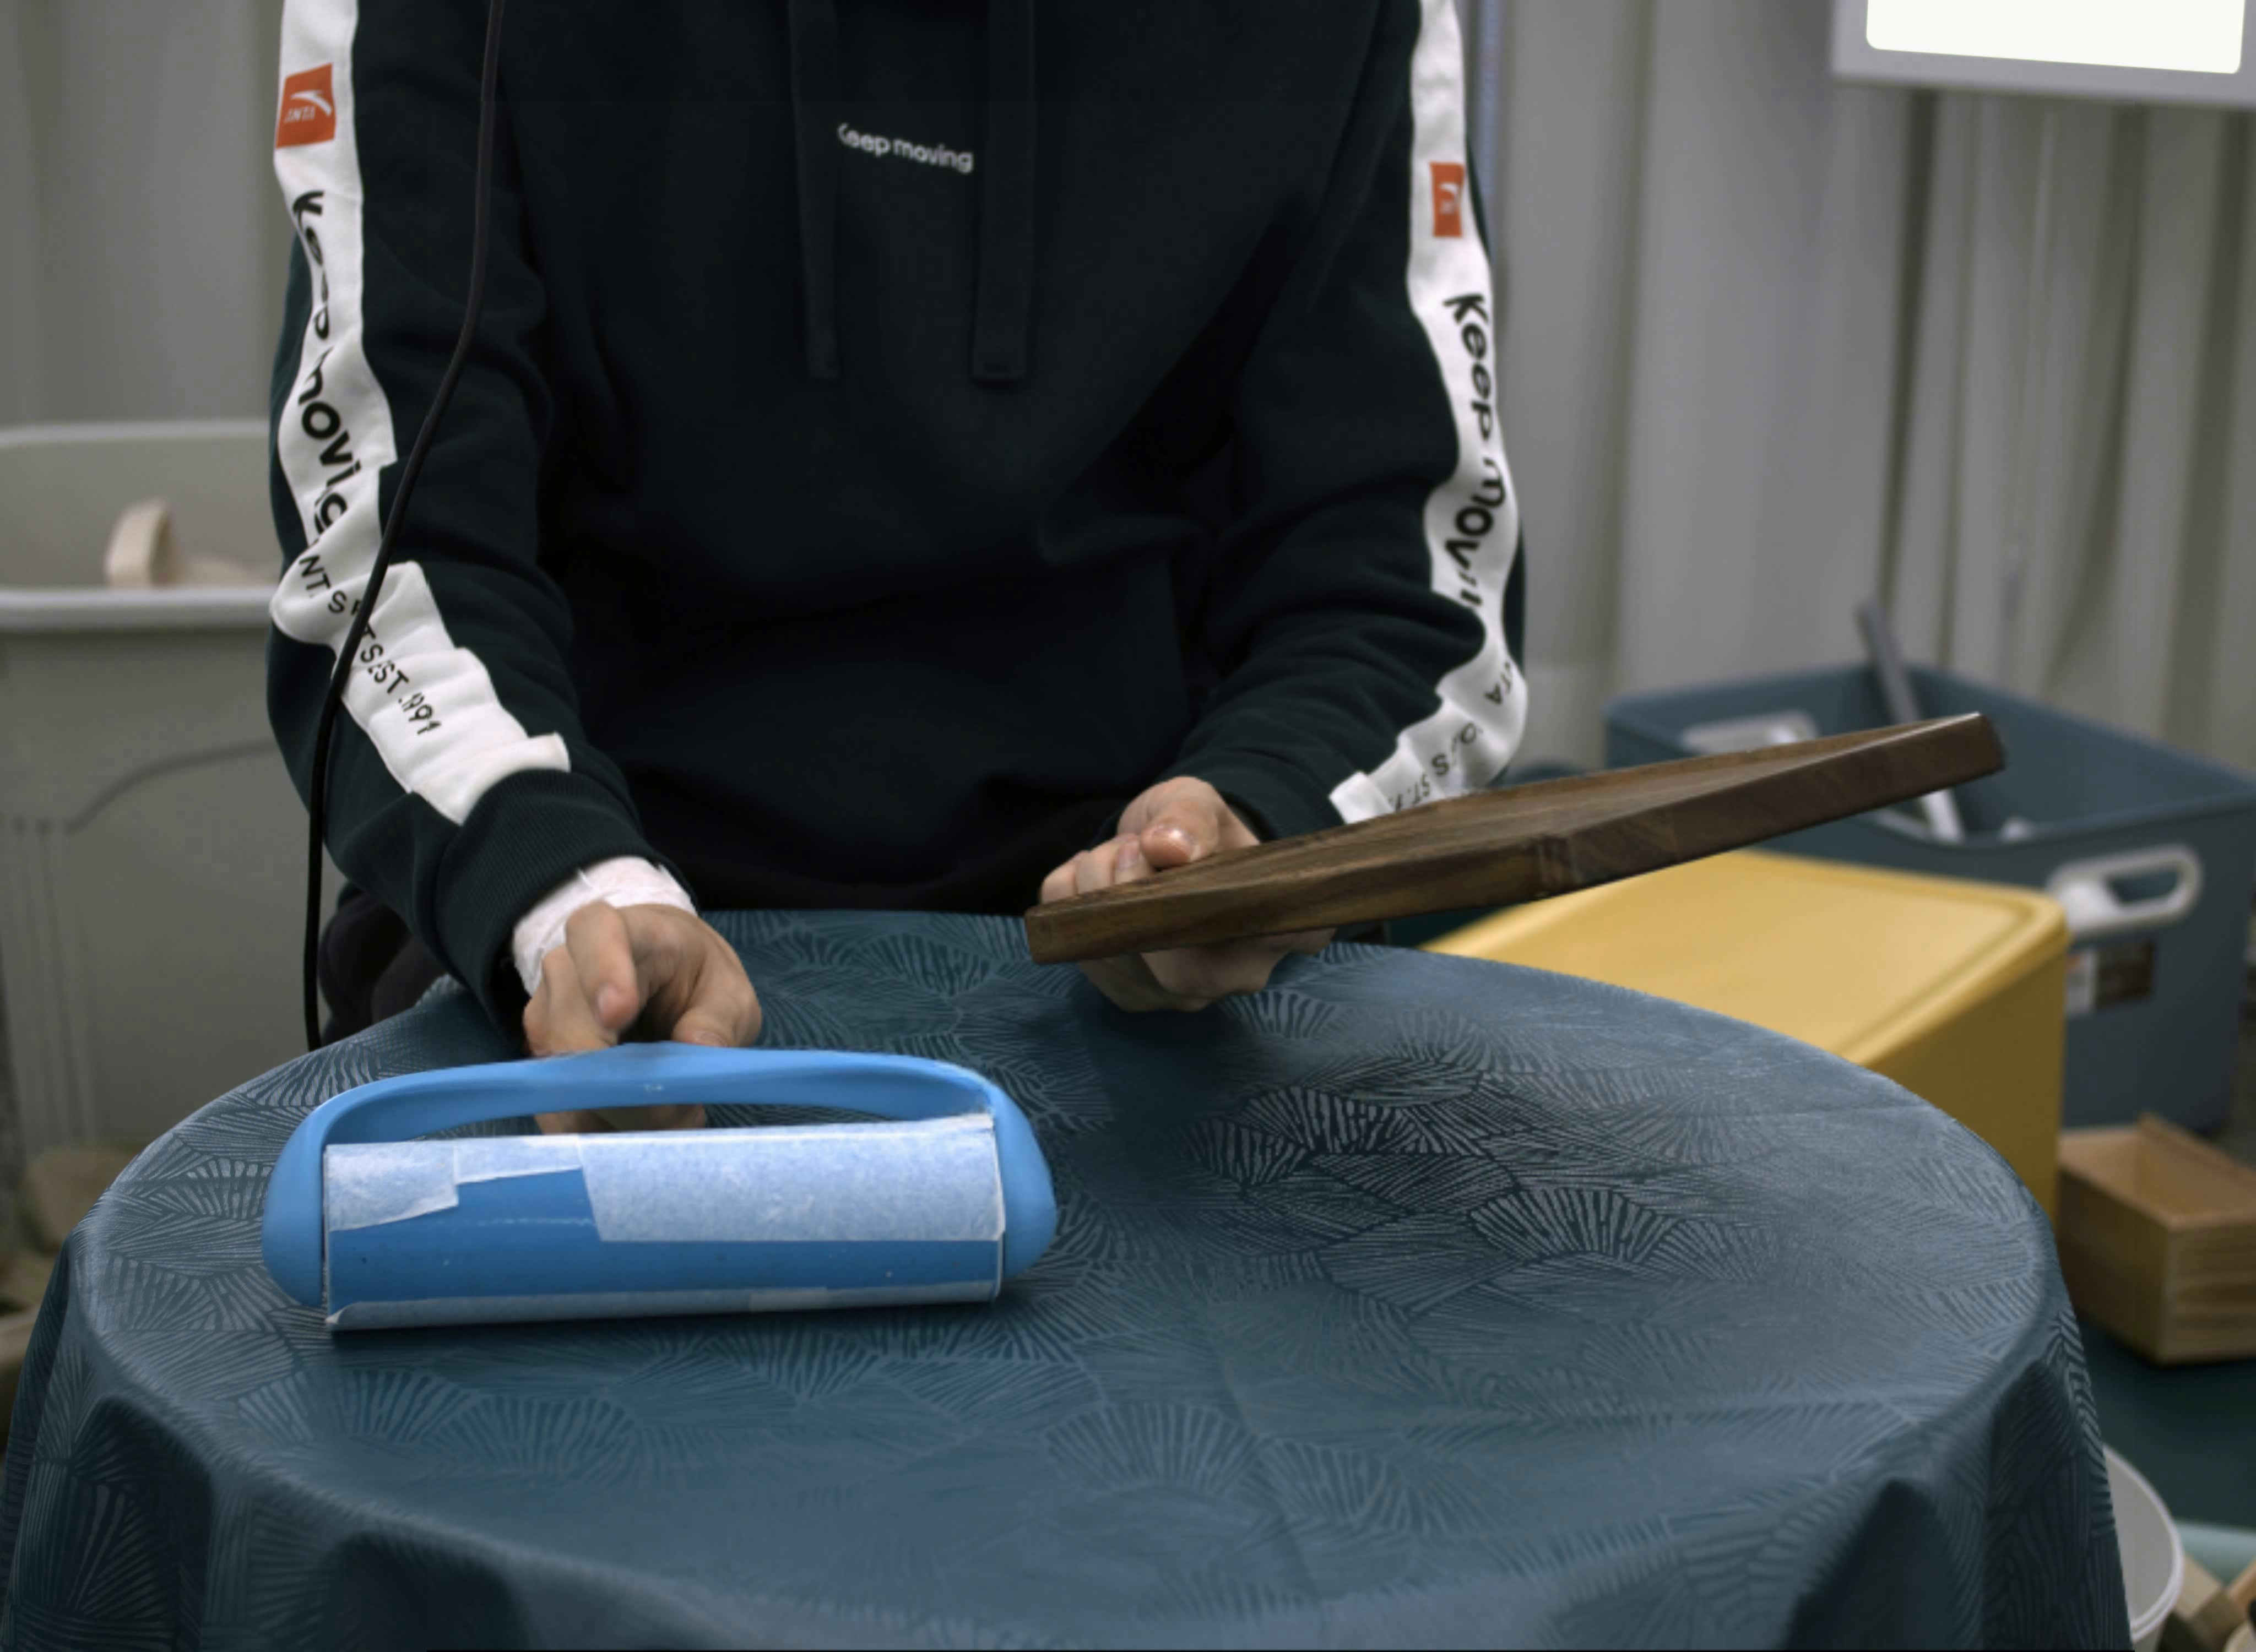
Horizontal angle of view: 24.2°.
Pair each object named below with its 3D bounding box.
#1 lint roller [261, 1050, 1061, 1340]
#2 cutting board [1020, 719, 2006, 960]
[{"bbox_3d":[-0.144,0.097,1.563,0.229,0.068,0.178,-4,17,-11],"label":"lint roller"},{"bbox_3d":[0.085,0.010,1.655,0.202,0.023,0.349,-13,2,-39],"label":"cutting board"}]
